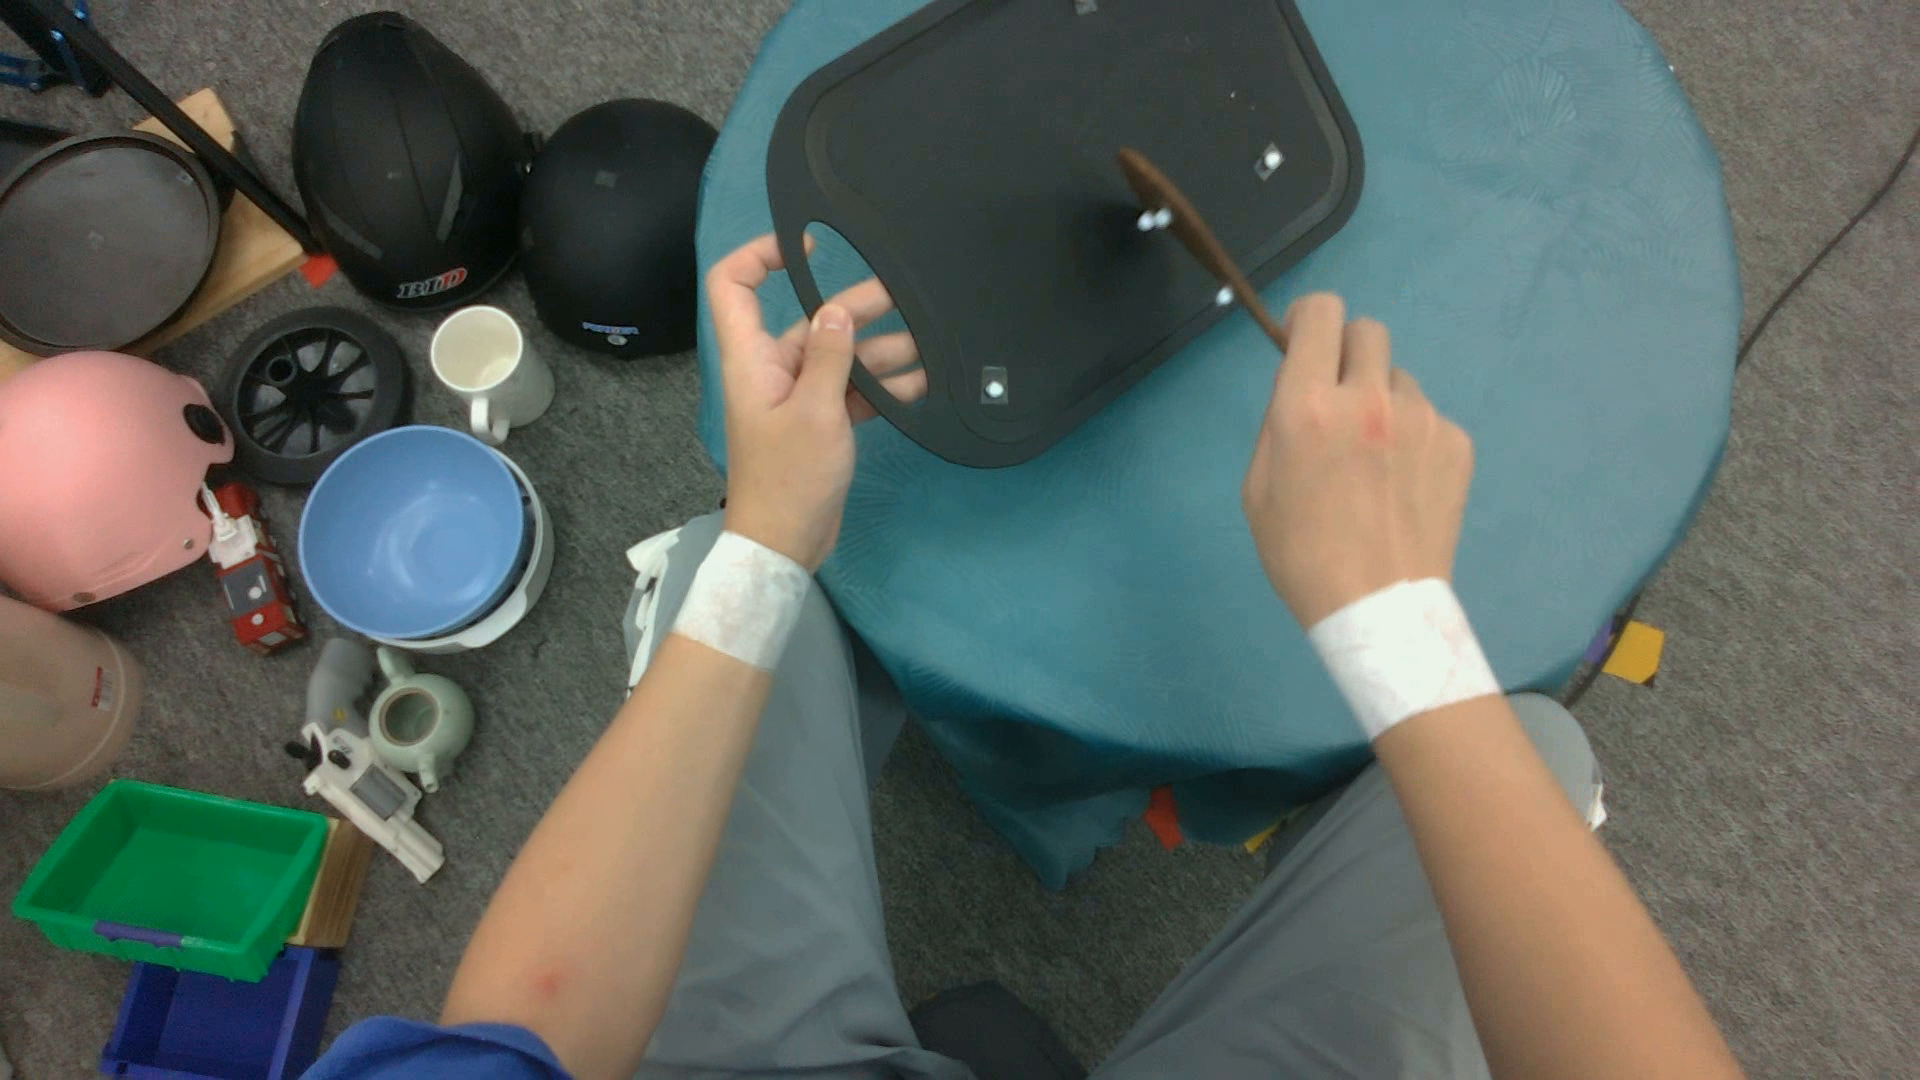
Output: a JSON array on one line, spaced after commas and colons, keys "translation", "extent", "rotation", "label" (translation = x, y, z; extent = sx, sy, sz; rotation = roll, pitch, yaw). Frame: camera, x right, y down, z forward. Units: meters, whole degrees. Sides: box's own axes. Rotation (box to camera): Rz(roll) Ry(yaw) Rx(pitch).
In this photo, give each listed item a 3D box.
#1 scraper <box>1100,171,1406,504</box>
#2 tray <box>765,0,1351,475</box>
[{"translation": [0.139, -0.097, 0.653], "extent": [0.011, 0.076, 0.211], "rotation": [-40, 70, 8], "label": "scraper"}, {"translation": [0.059, -0.182, 0.705], "extent": [0.326, 0.010, 0.211], "rotation": [-37, 104, -18], "label": "tray"}]
